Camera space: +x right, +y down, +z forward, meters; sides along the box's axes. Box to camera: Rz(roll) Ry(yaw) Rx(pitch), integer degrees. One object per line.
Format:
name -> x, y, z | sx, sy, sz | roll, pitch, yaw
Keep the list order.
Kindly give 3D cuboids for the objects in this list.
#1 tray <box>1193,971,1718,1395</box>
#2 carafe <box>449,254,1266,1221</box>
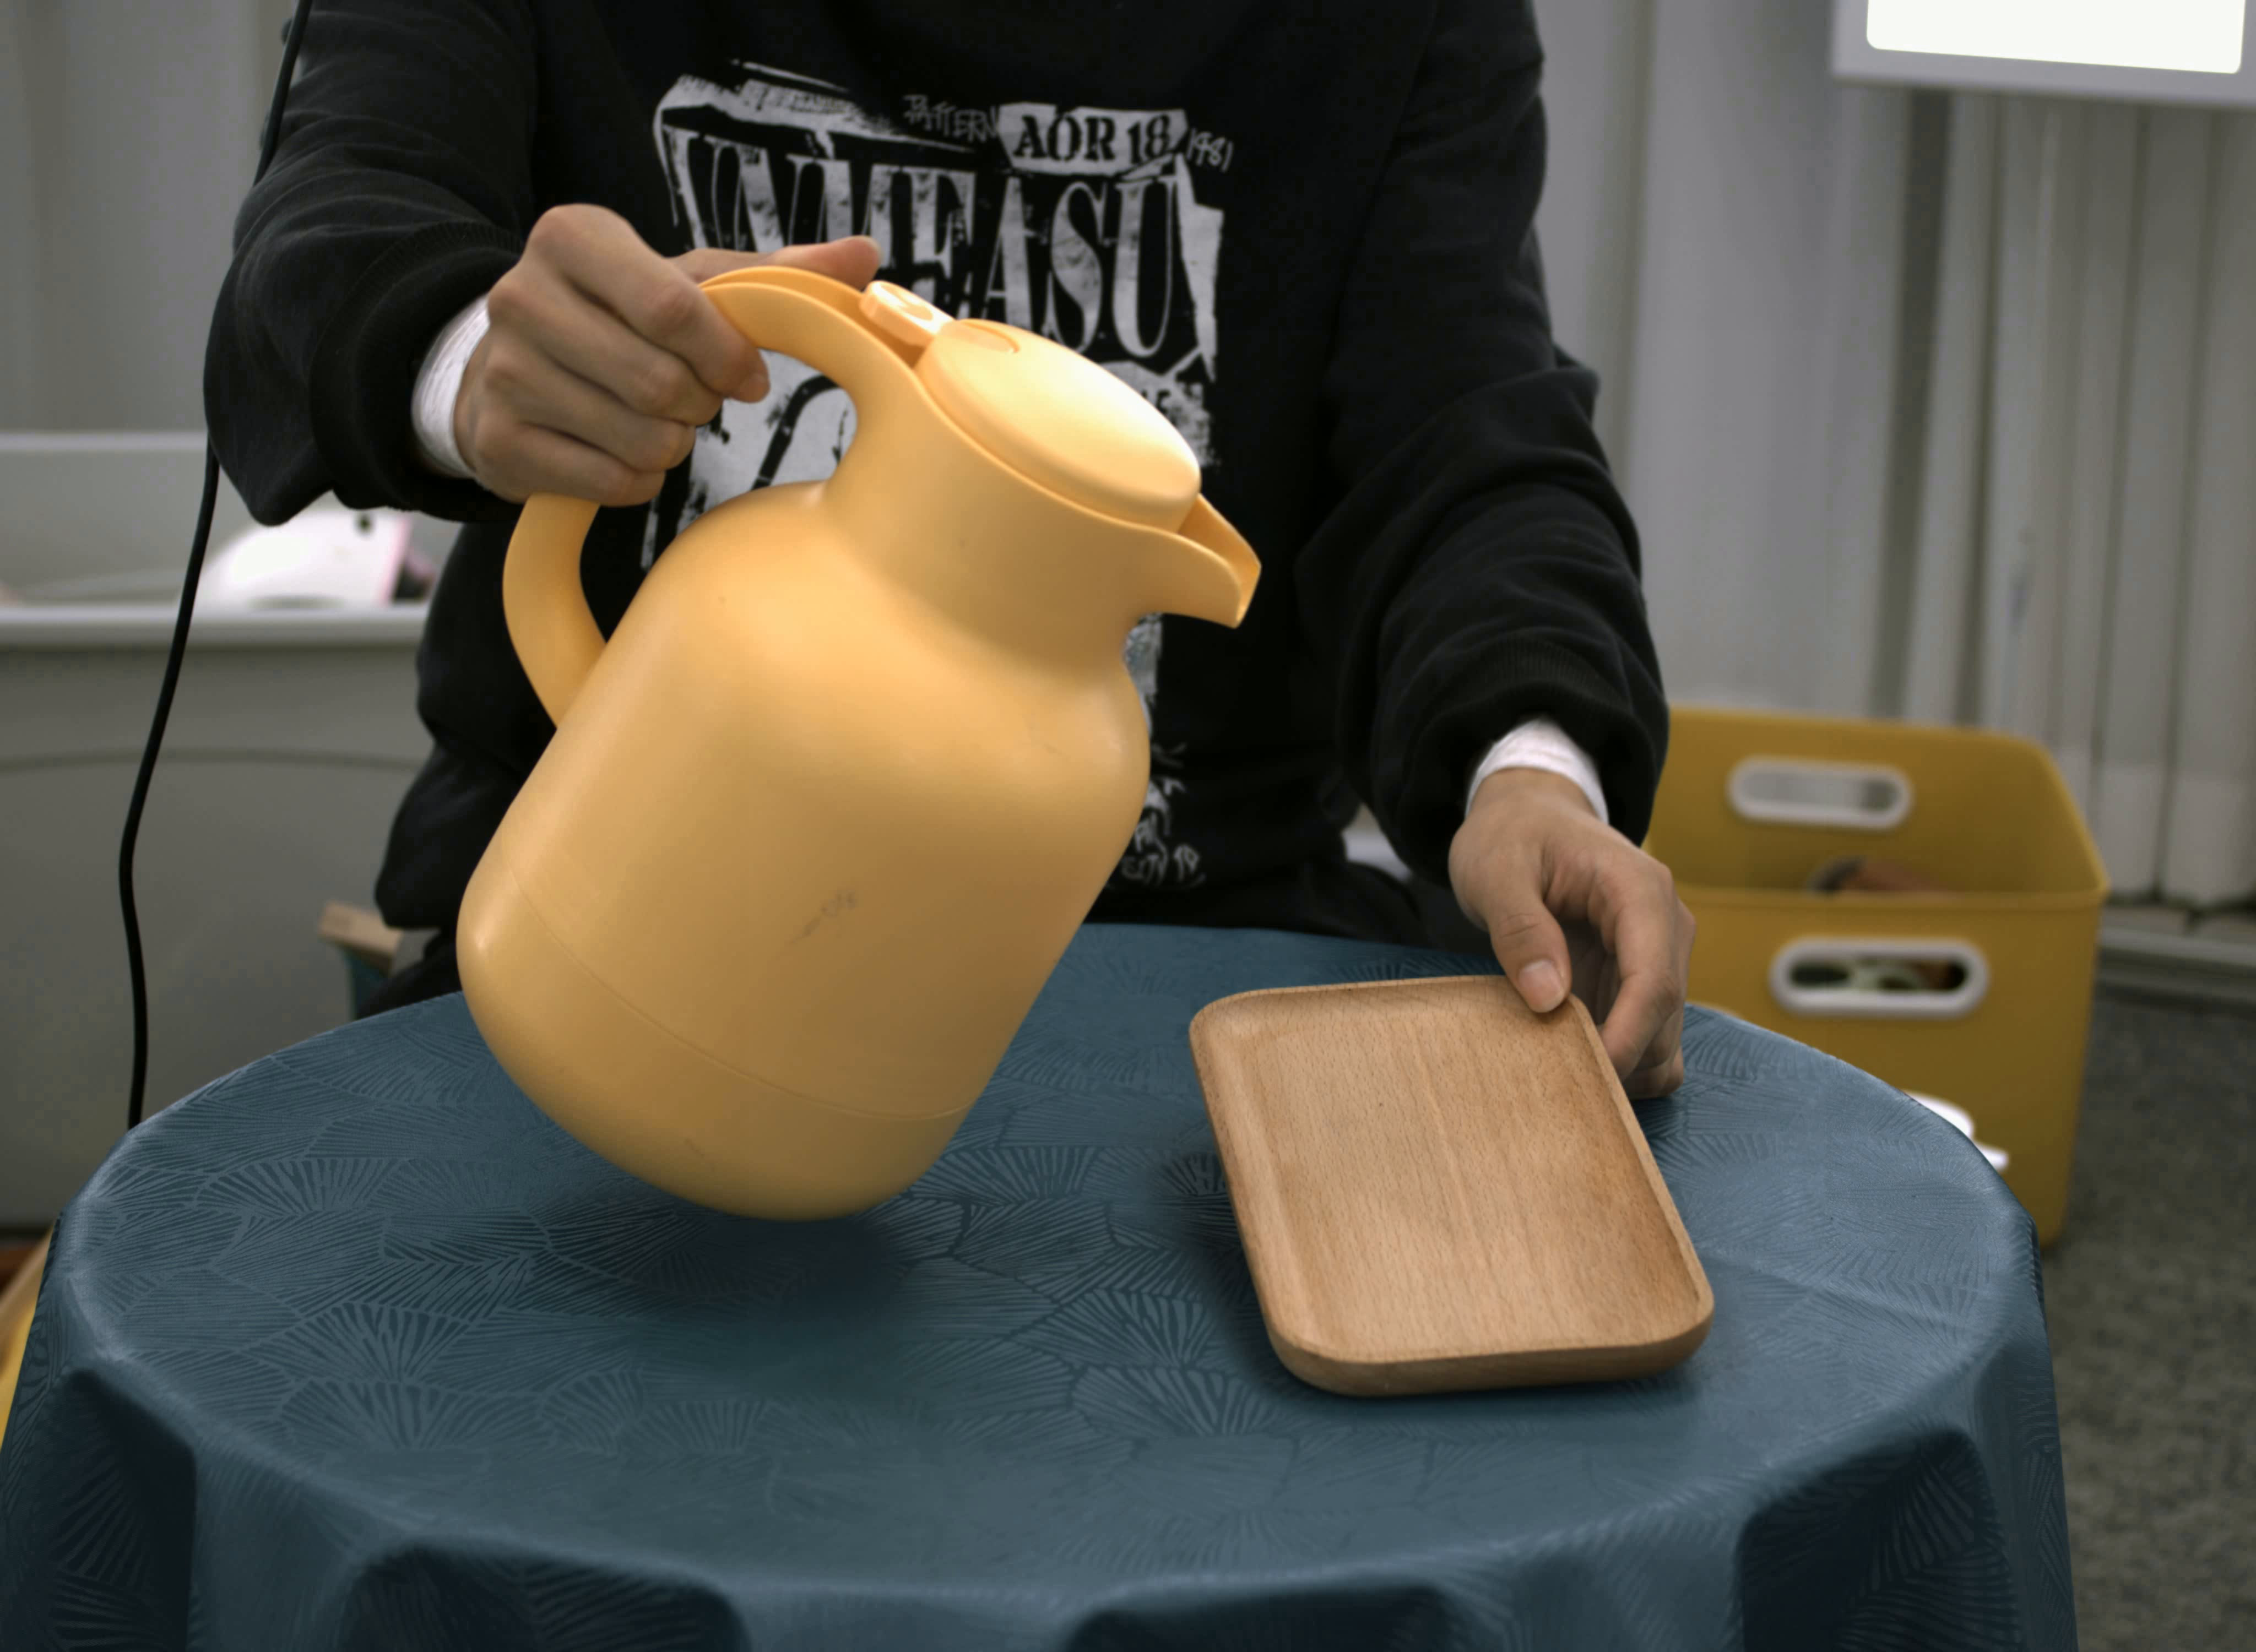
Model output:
tray -> 0.093, 0.103, 1.568 | 0.130, 0.023, 0.248 | -1, 22, -5
carafe -> -0.092, -0.034, 1.525 | 0.202, 0.261, 0.163 | 35, 20, 4
